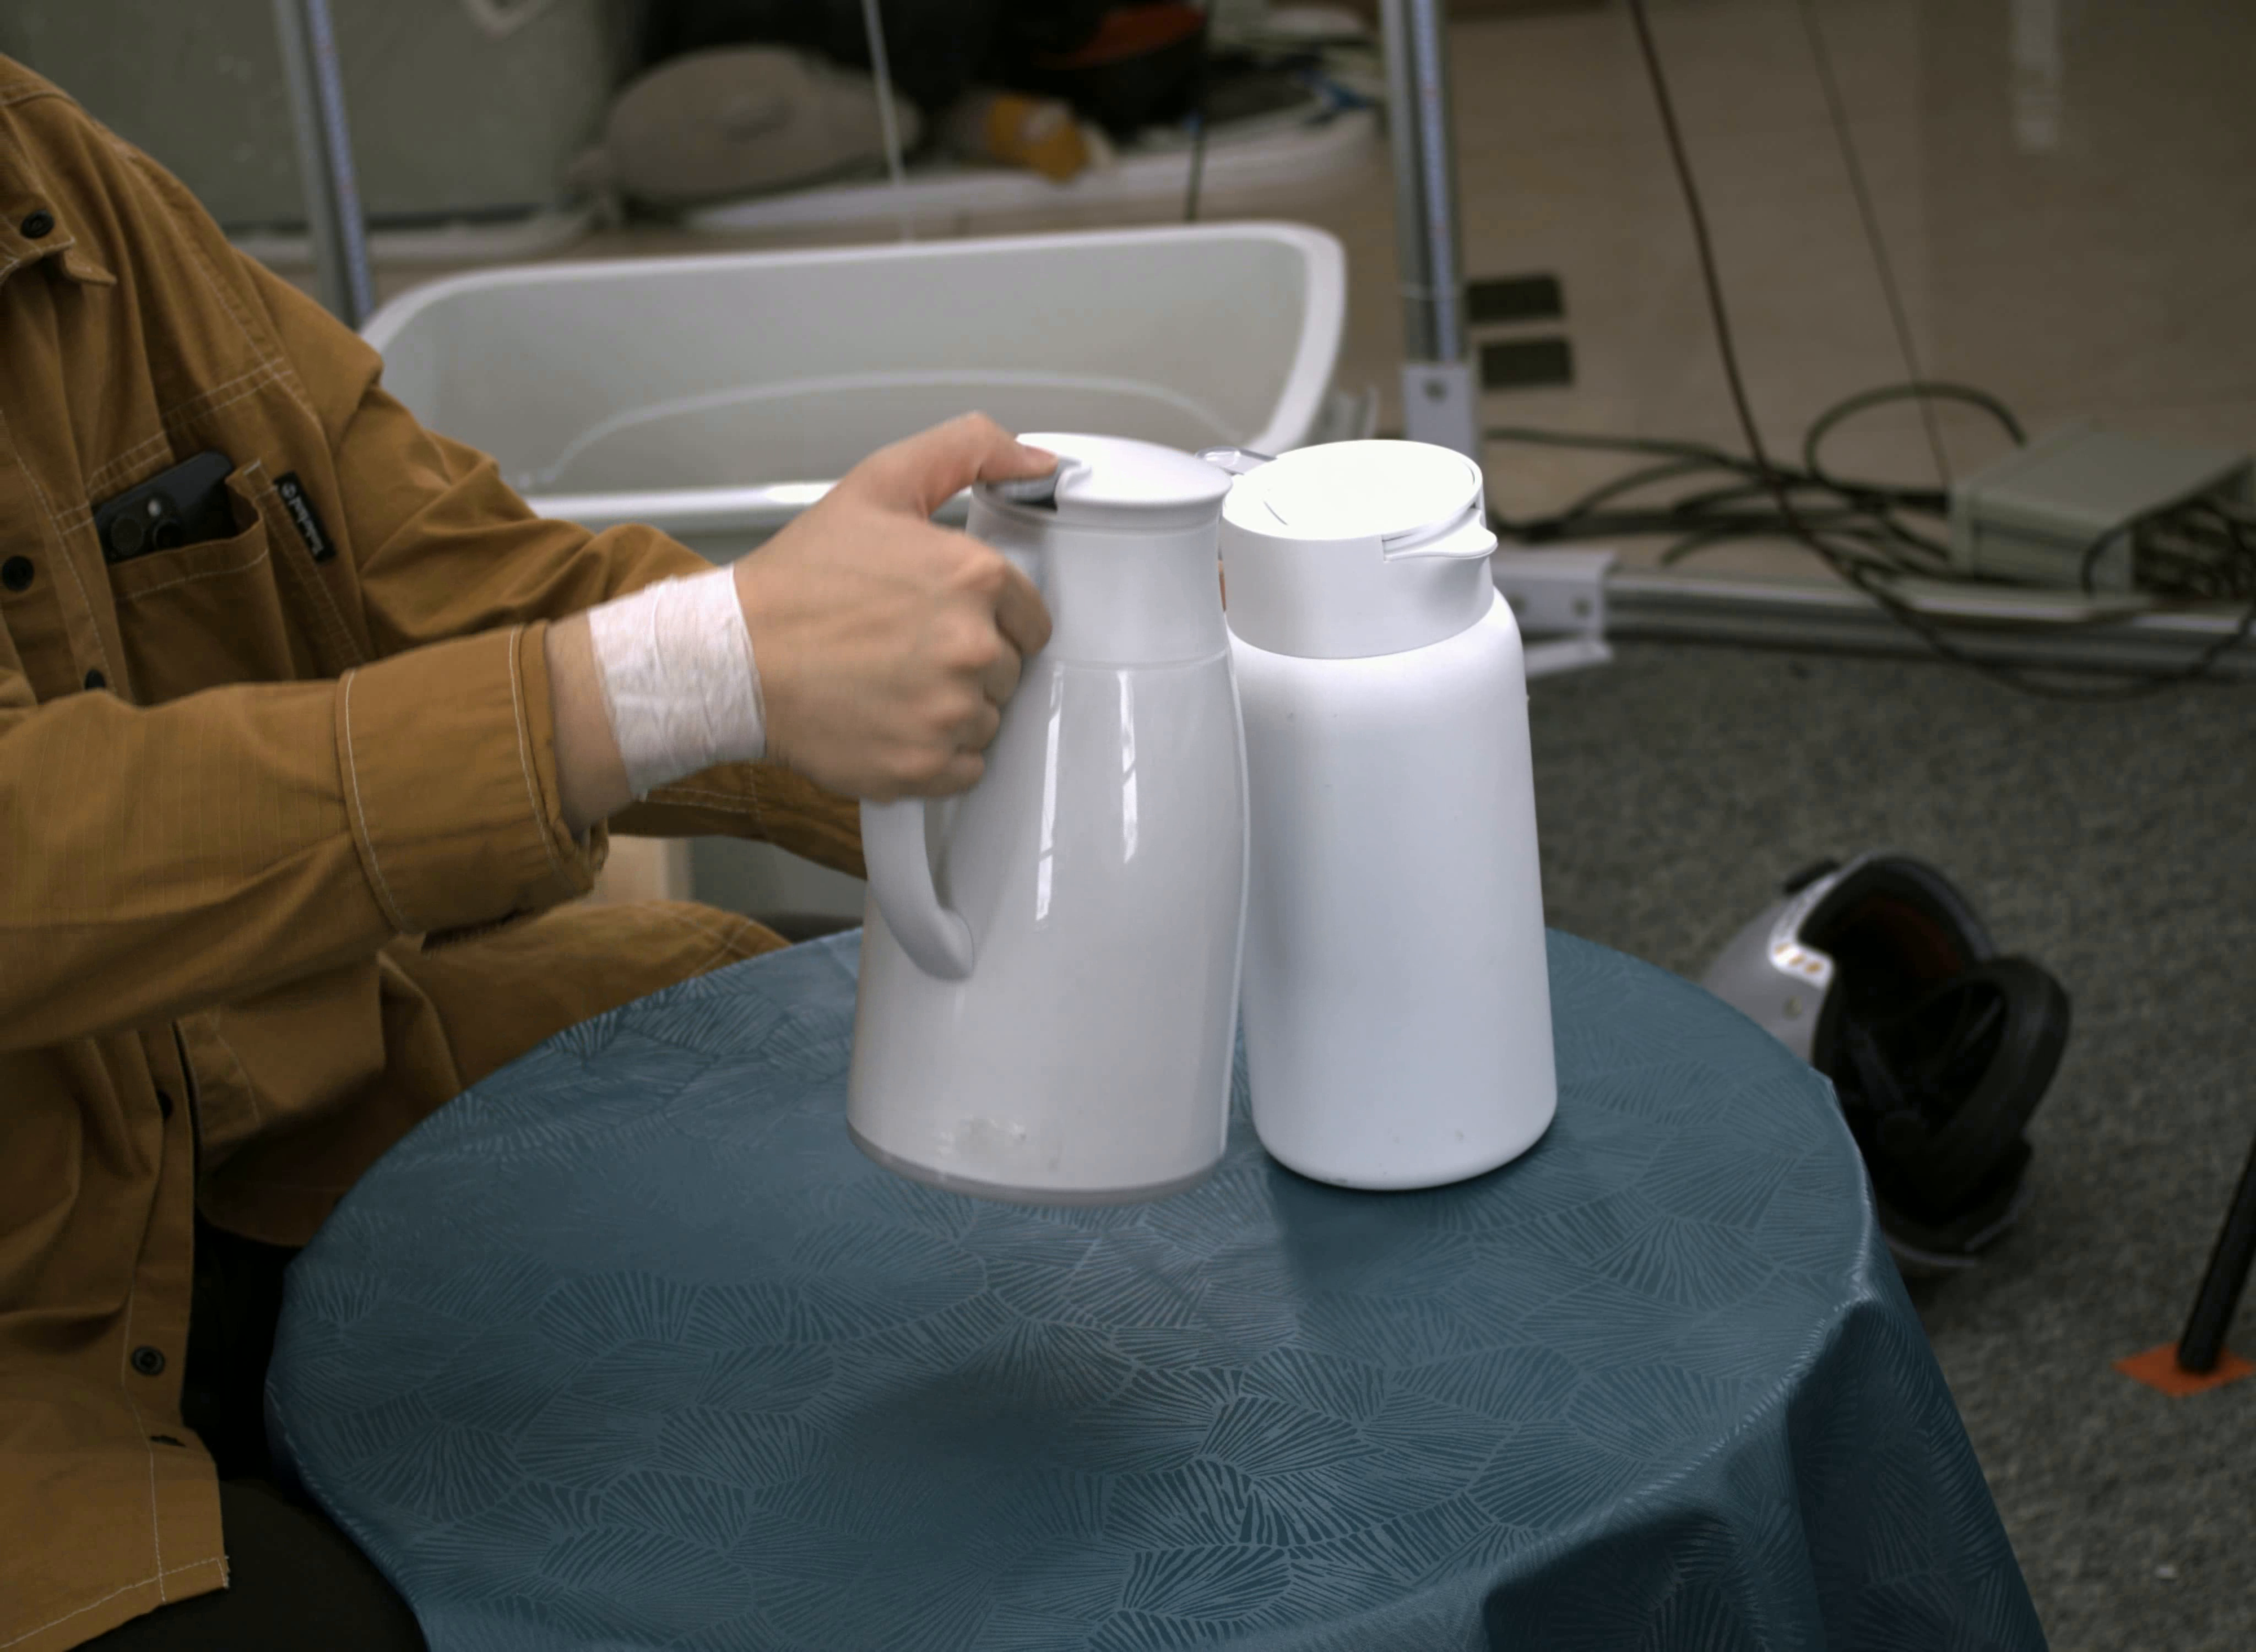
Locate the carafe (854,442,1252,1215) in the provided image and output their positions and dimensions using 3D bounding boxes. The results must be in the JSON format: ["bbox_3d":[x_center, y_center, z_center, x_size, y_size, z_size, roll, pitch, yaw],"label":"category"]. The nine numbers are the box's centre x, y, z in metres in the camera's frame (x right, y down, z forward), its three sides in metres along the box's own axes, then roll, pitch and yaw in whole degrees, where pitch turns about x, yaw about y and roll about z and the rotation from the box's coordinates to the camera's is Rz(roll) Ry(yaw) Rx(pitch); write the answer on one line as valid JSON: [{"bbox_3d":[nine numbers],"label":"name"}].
[{"bbox_3d":[-0.031,-0.002,1.912,0.131,0.252,0.166,17,22,33],"label":"carafe"}]

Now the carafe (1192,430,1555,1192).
[{"bbox_3d":[0.080,-0.008,2.124,0.171,0.273,0.122,18,37,41],"label":"carafe"}]
